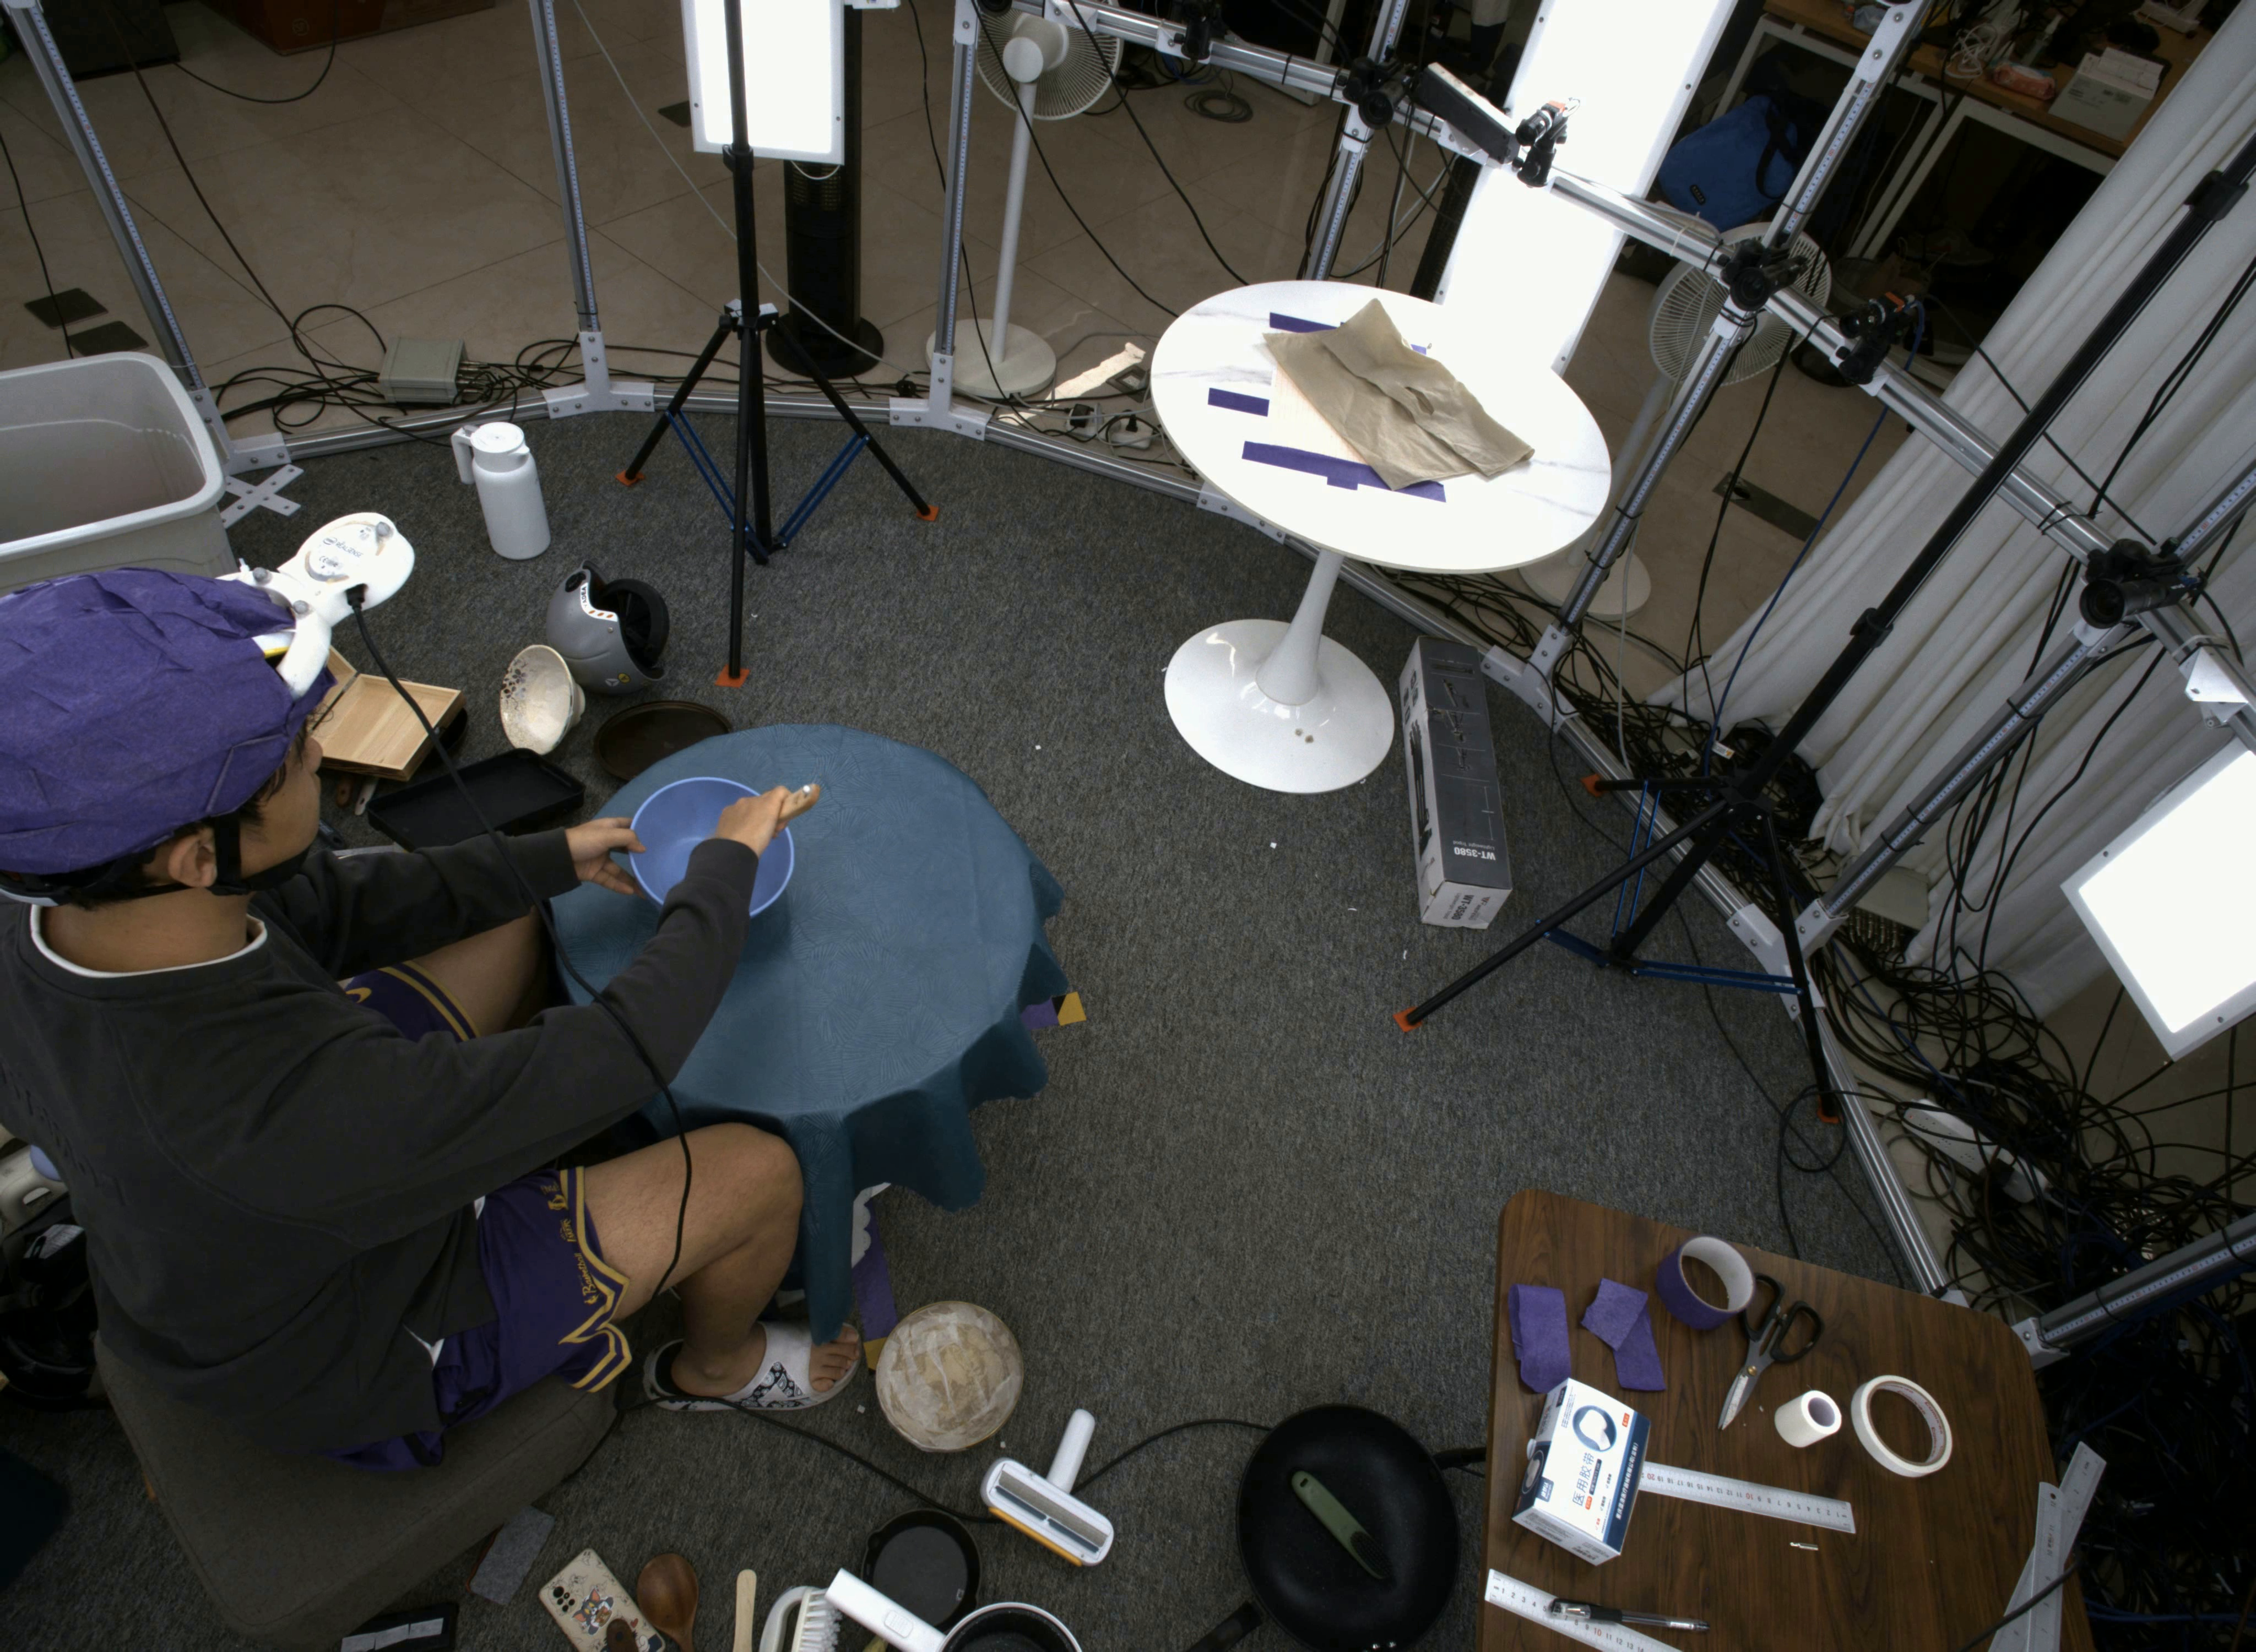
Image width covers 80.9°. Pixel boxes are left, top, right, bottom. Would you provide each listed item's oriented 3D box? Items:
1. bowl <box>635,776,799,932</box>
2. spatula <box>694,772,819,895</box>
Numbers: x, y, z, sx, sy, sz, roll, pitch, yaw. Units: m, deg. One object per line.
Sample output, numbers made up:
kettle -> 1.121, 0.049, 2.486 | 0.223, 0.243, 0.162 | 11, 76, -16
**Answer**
bowl -> -0.514, 0.047, 1.592 | 0.199, 0.095, 0.194 | 16, 58, -24
spatula -> -0.422, -0.002, 1.461 | 0.019, 0.384, 0.095 | 22, 64, -27
